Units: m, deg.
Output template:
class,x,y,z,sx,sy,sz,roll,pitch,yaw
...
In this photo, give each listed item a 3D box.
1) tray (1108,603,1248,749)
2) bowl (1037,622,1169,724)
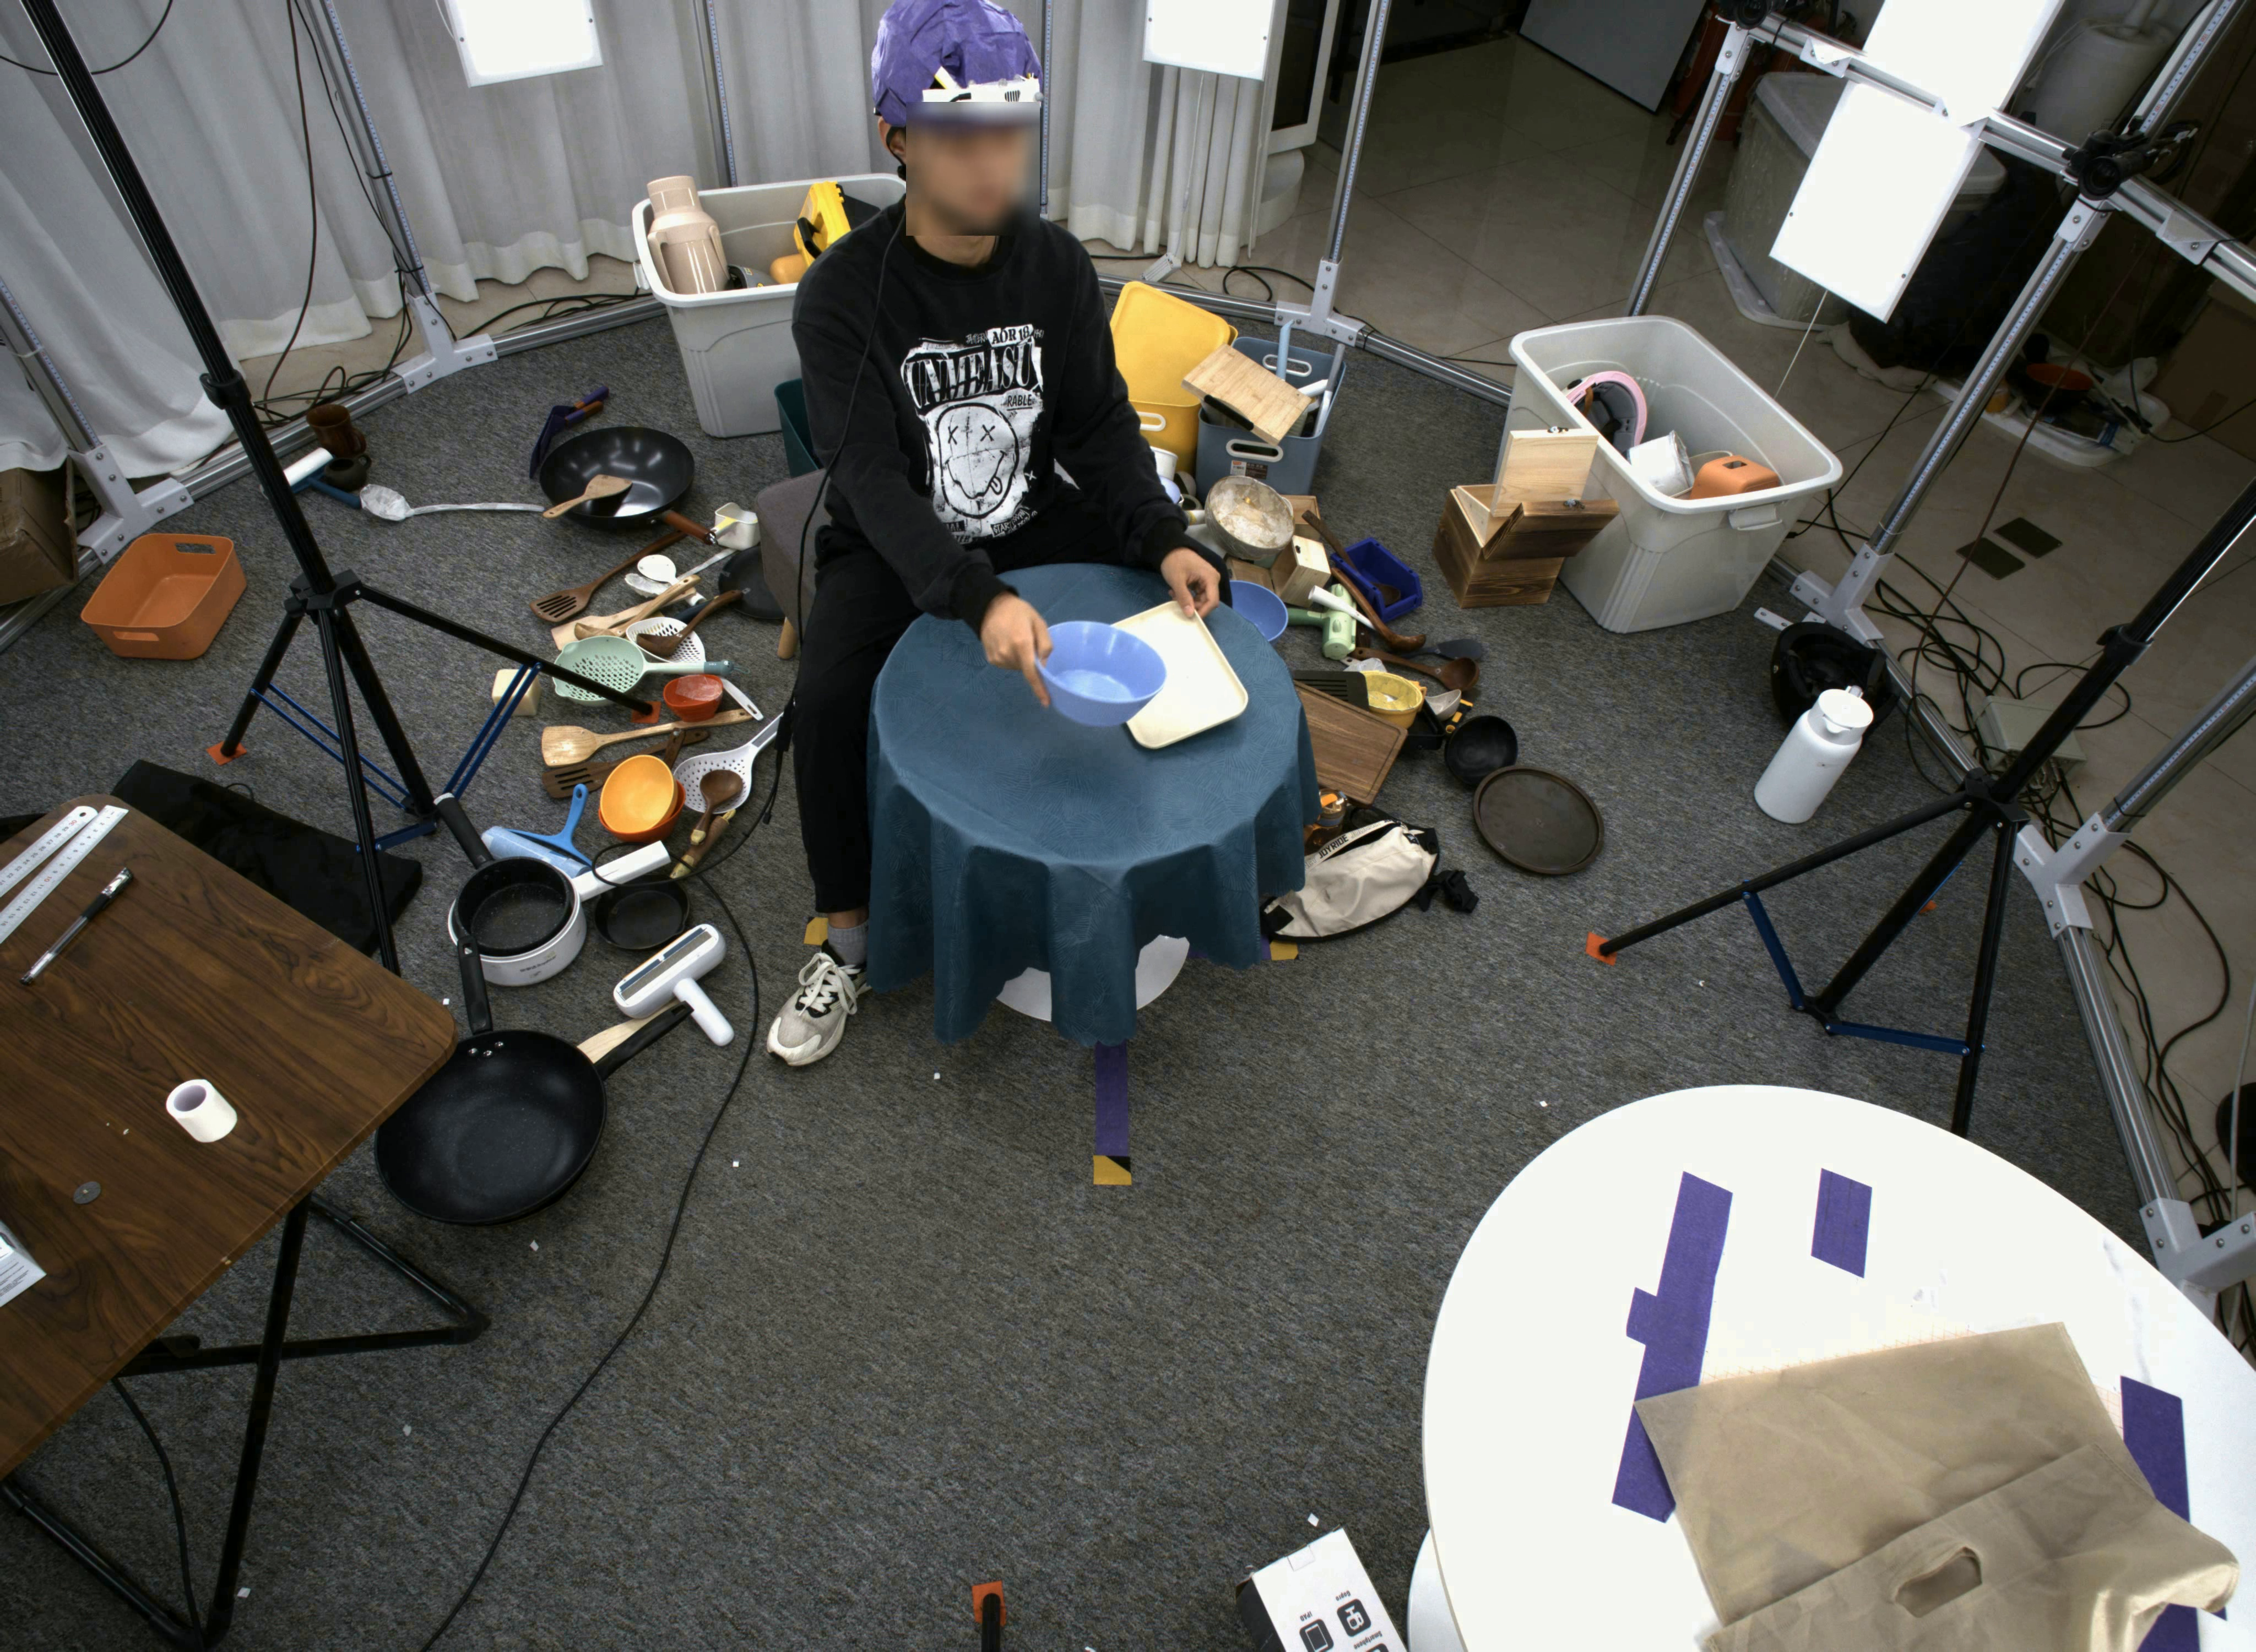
class,x,y,z,sx,sy,sz,roll,pitch,yaw
tray,0.054,-0.217,1.845,0.171,0.017,0.245,-22,54,-7
bowl,-0.038,-0.192,1.671,0.175,0.069,0.180,11,37,-8
